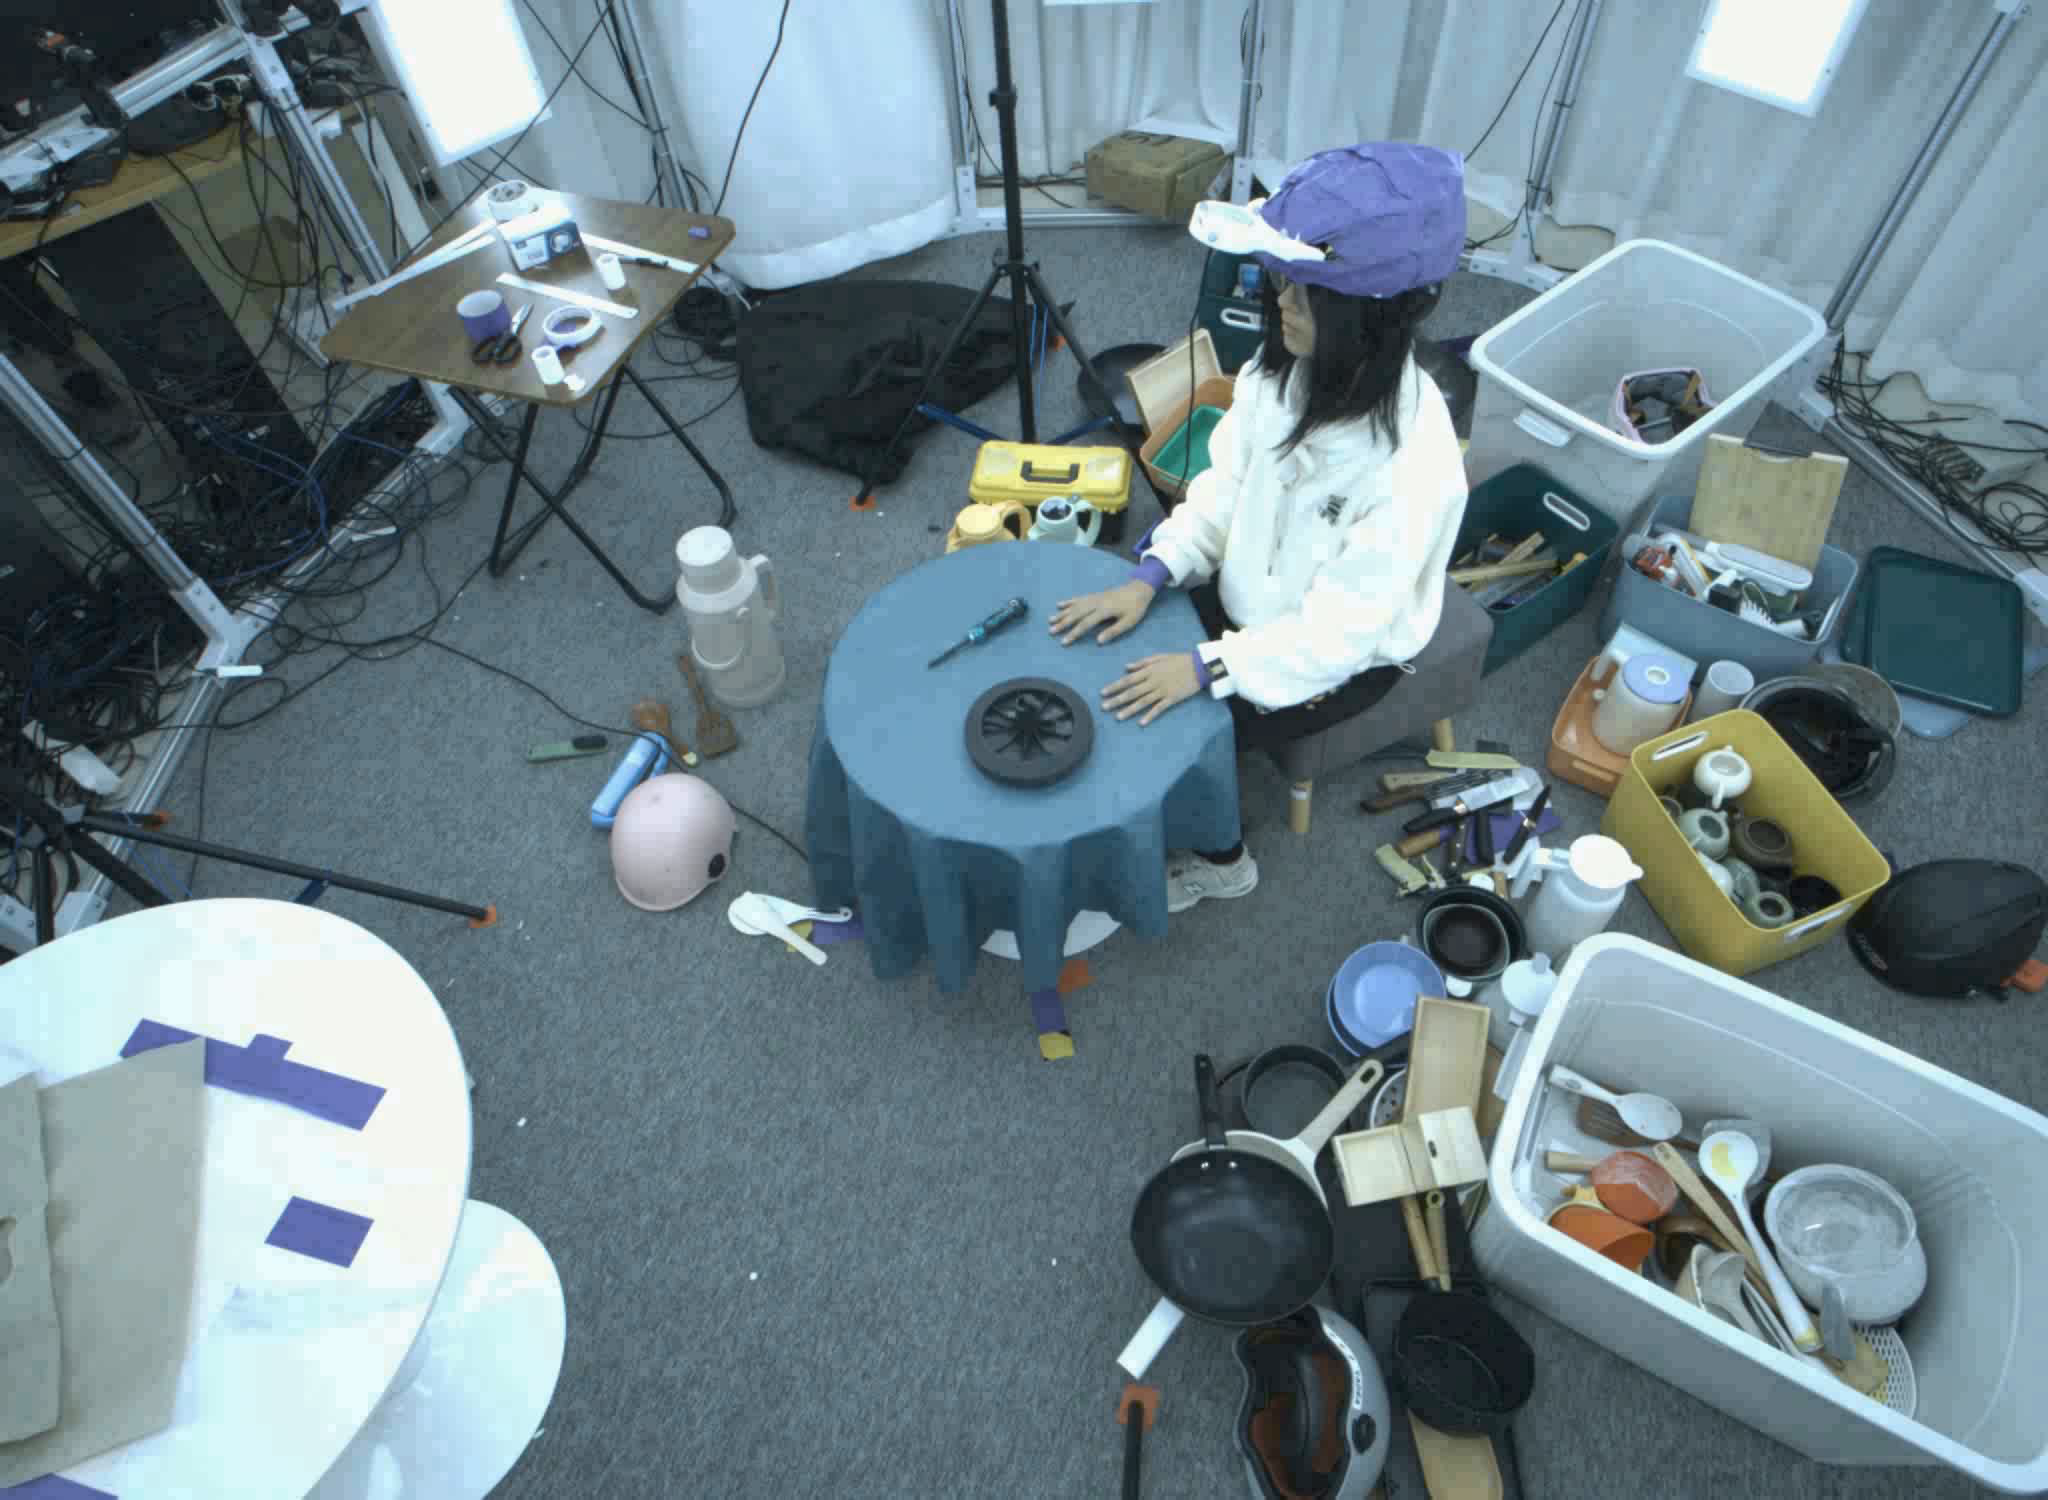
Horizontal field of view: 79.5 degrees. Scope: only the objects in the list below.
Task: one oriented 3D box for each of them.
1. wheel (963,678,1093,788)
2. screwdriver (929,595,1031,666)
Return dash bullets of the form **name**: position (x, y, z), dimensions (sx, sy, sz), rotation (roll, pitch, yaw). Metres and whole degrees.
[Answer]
- **wheel**: position (0.003, -0.039, 1.770), dimensions (0.190, 0.080, 0.185), rotation (-8, 55, 0)
- **screwdriver**: position (-0.071, -0.182, 1.906), dimensions (0.191, 0.034, 0.033), rotation (-36, 61, -15)
